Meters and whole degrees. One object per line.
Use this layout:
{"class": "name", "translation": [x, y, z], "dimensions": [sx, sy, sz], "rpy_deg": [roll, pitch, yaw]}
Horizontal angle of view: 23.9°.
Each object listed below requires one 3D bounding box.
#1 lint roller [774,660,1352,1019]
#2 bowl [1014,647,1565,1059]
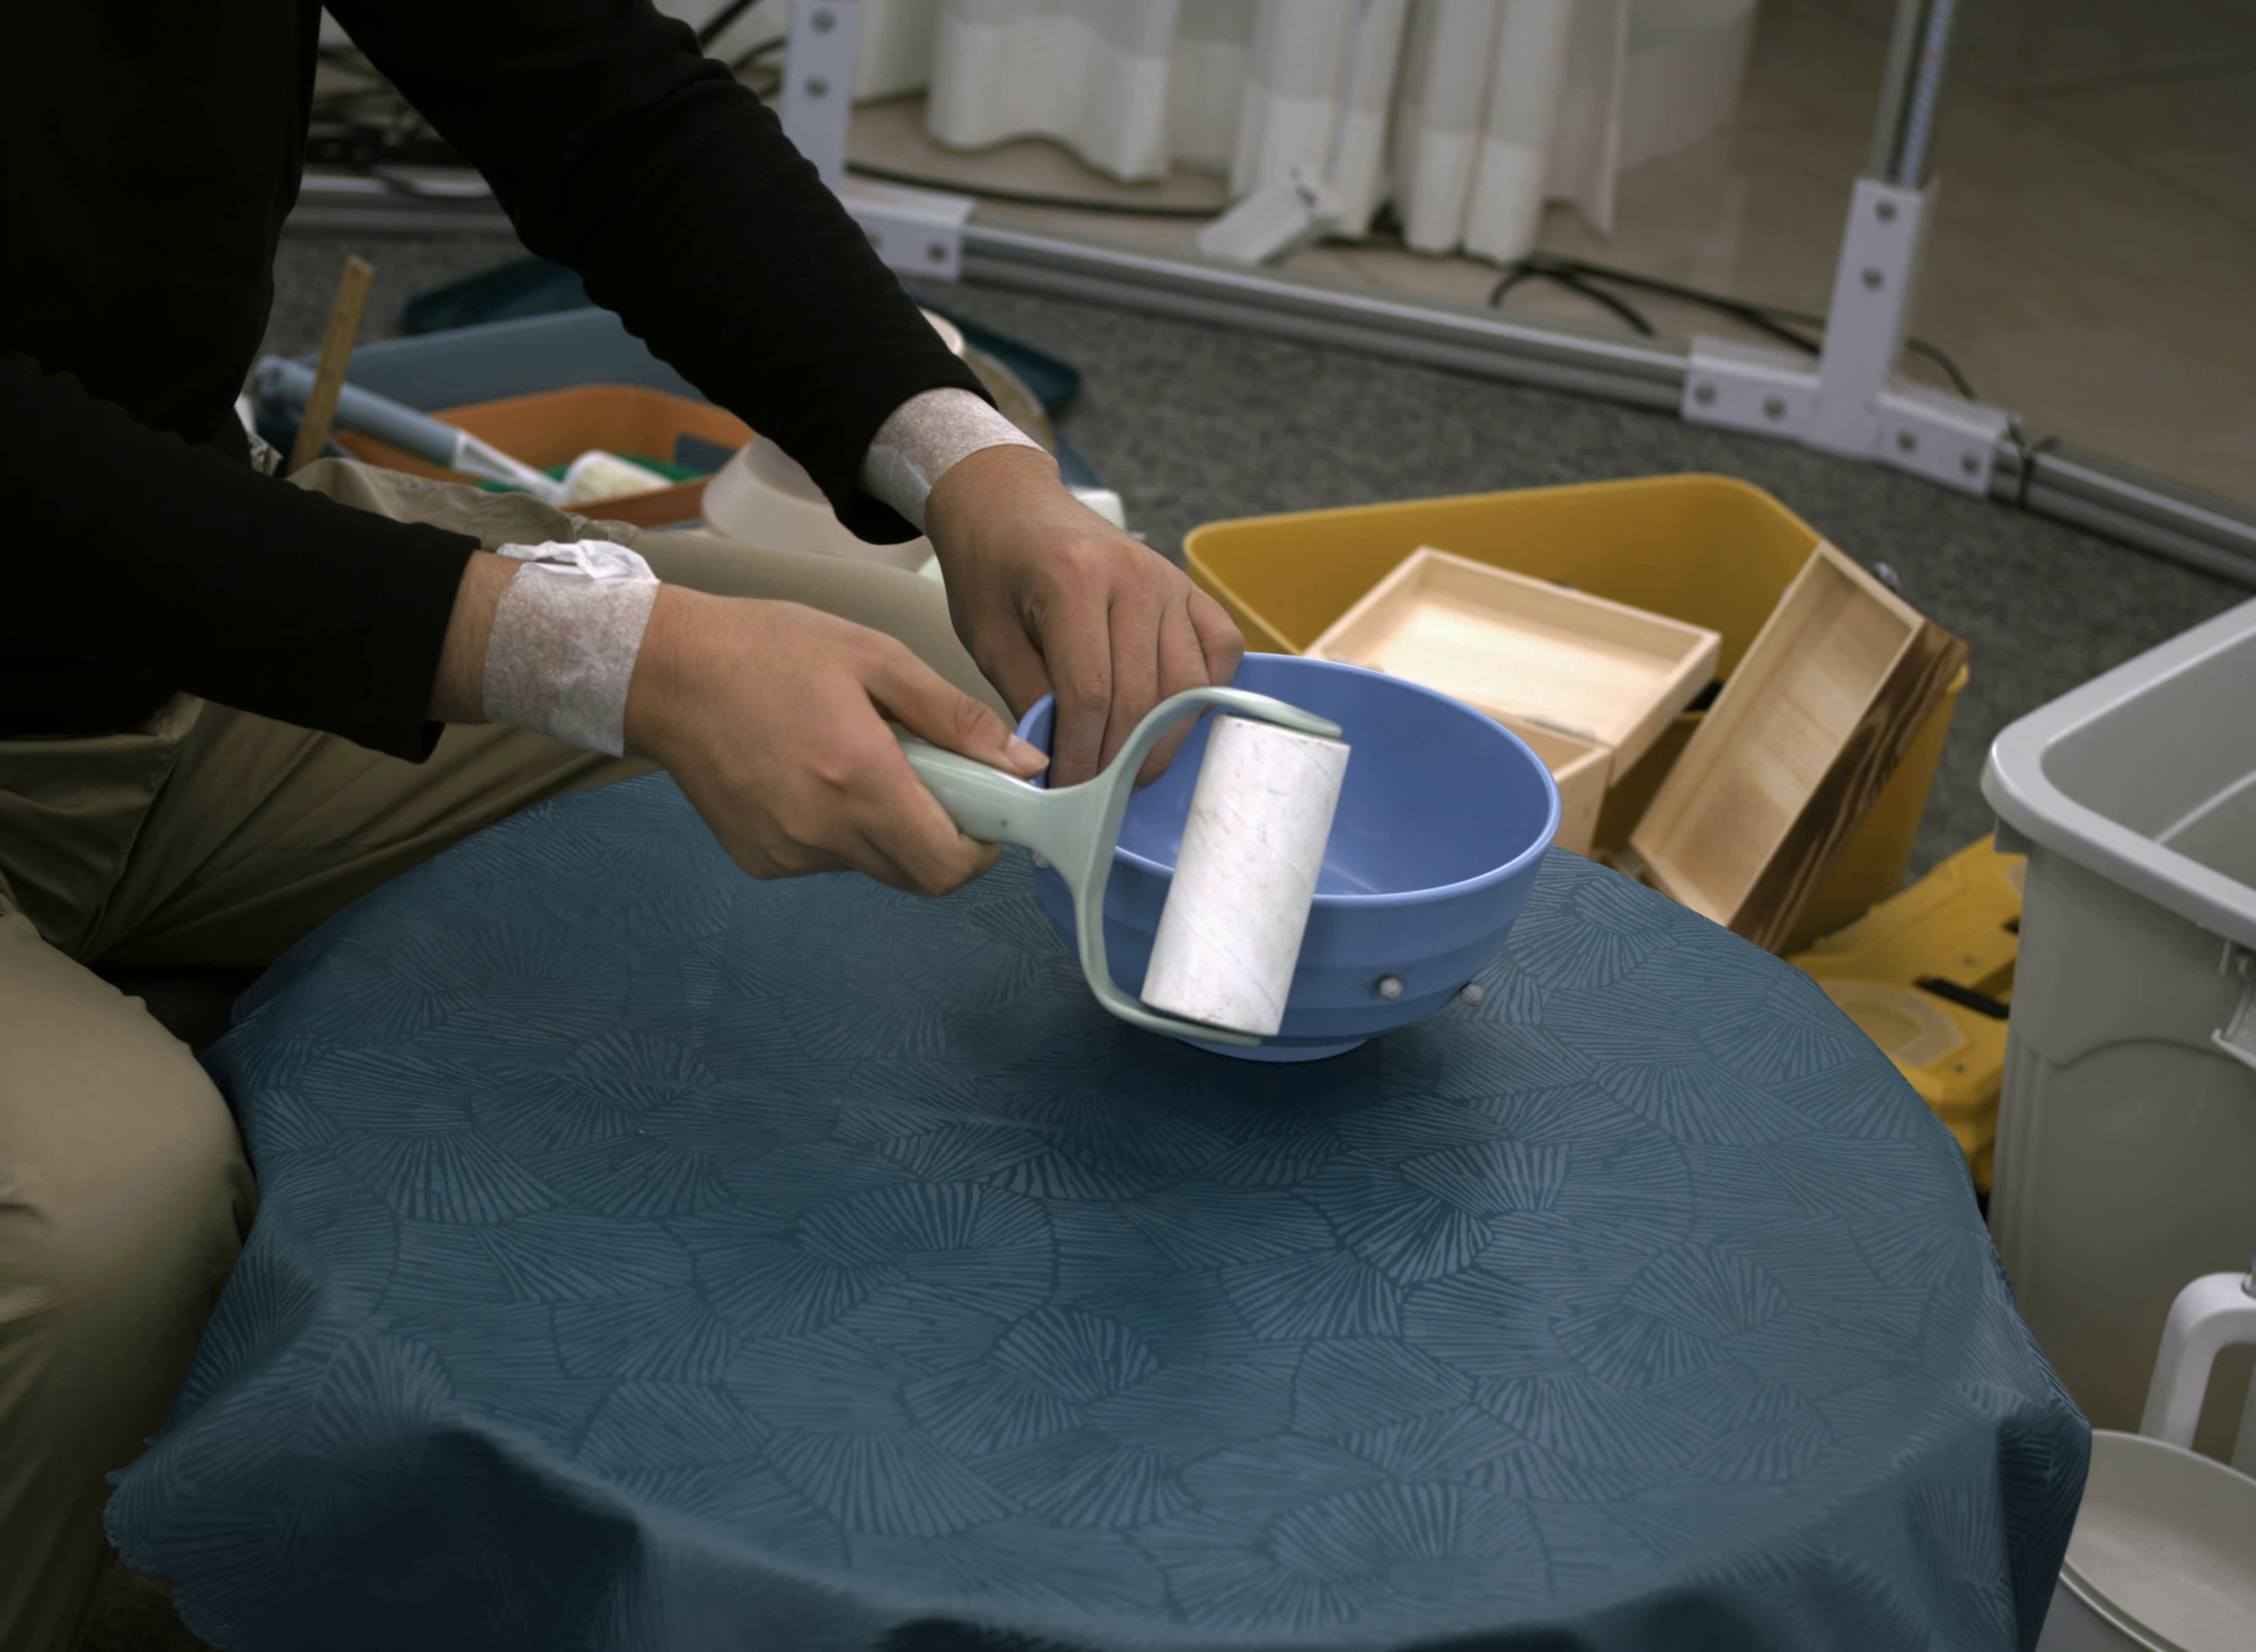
{"class": "lint roller", "translation": [-0.028, -0.011, 1.776], "dimensions": [0.198, 0.117, 0.048], "rpy_deg": [15, 4, 13]}
{"class": "bowl", "translation": [0.053, 0.020, 1.909], "dimensions": [0.196, 0.095, 0.198], "rpy_deg": [4, 28, -2]}
